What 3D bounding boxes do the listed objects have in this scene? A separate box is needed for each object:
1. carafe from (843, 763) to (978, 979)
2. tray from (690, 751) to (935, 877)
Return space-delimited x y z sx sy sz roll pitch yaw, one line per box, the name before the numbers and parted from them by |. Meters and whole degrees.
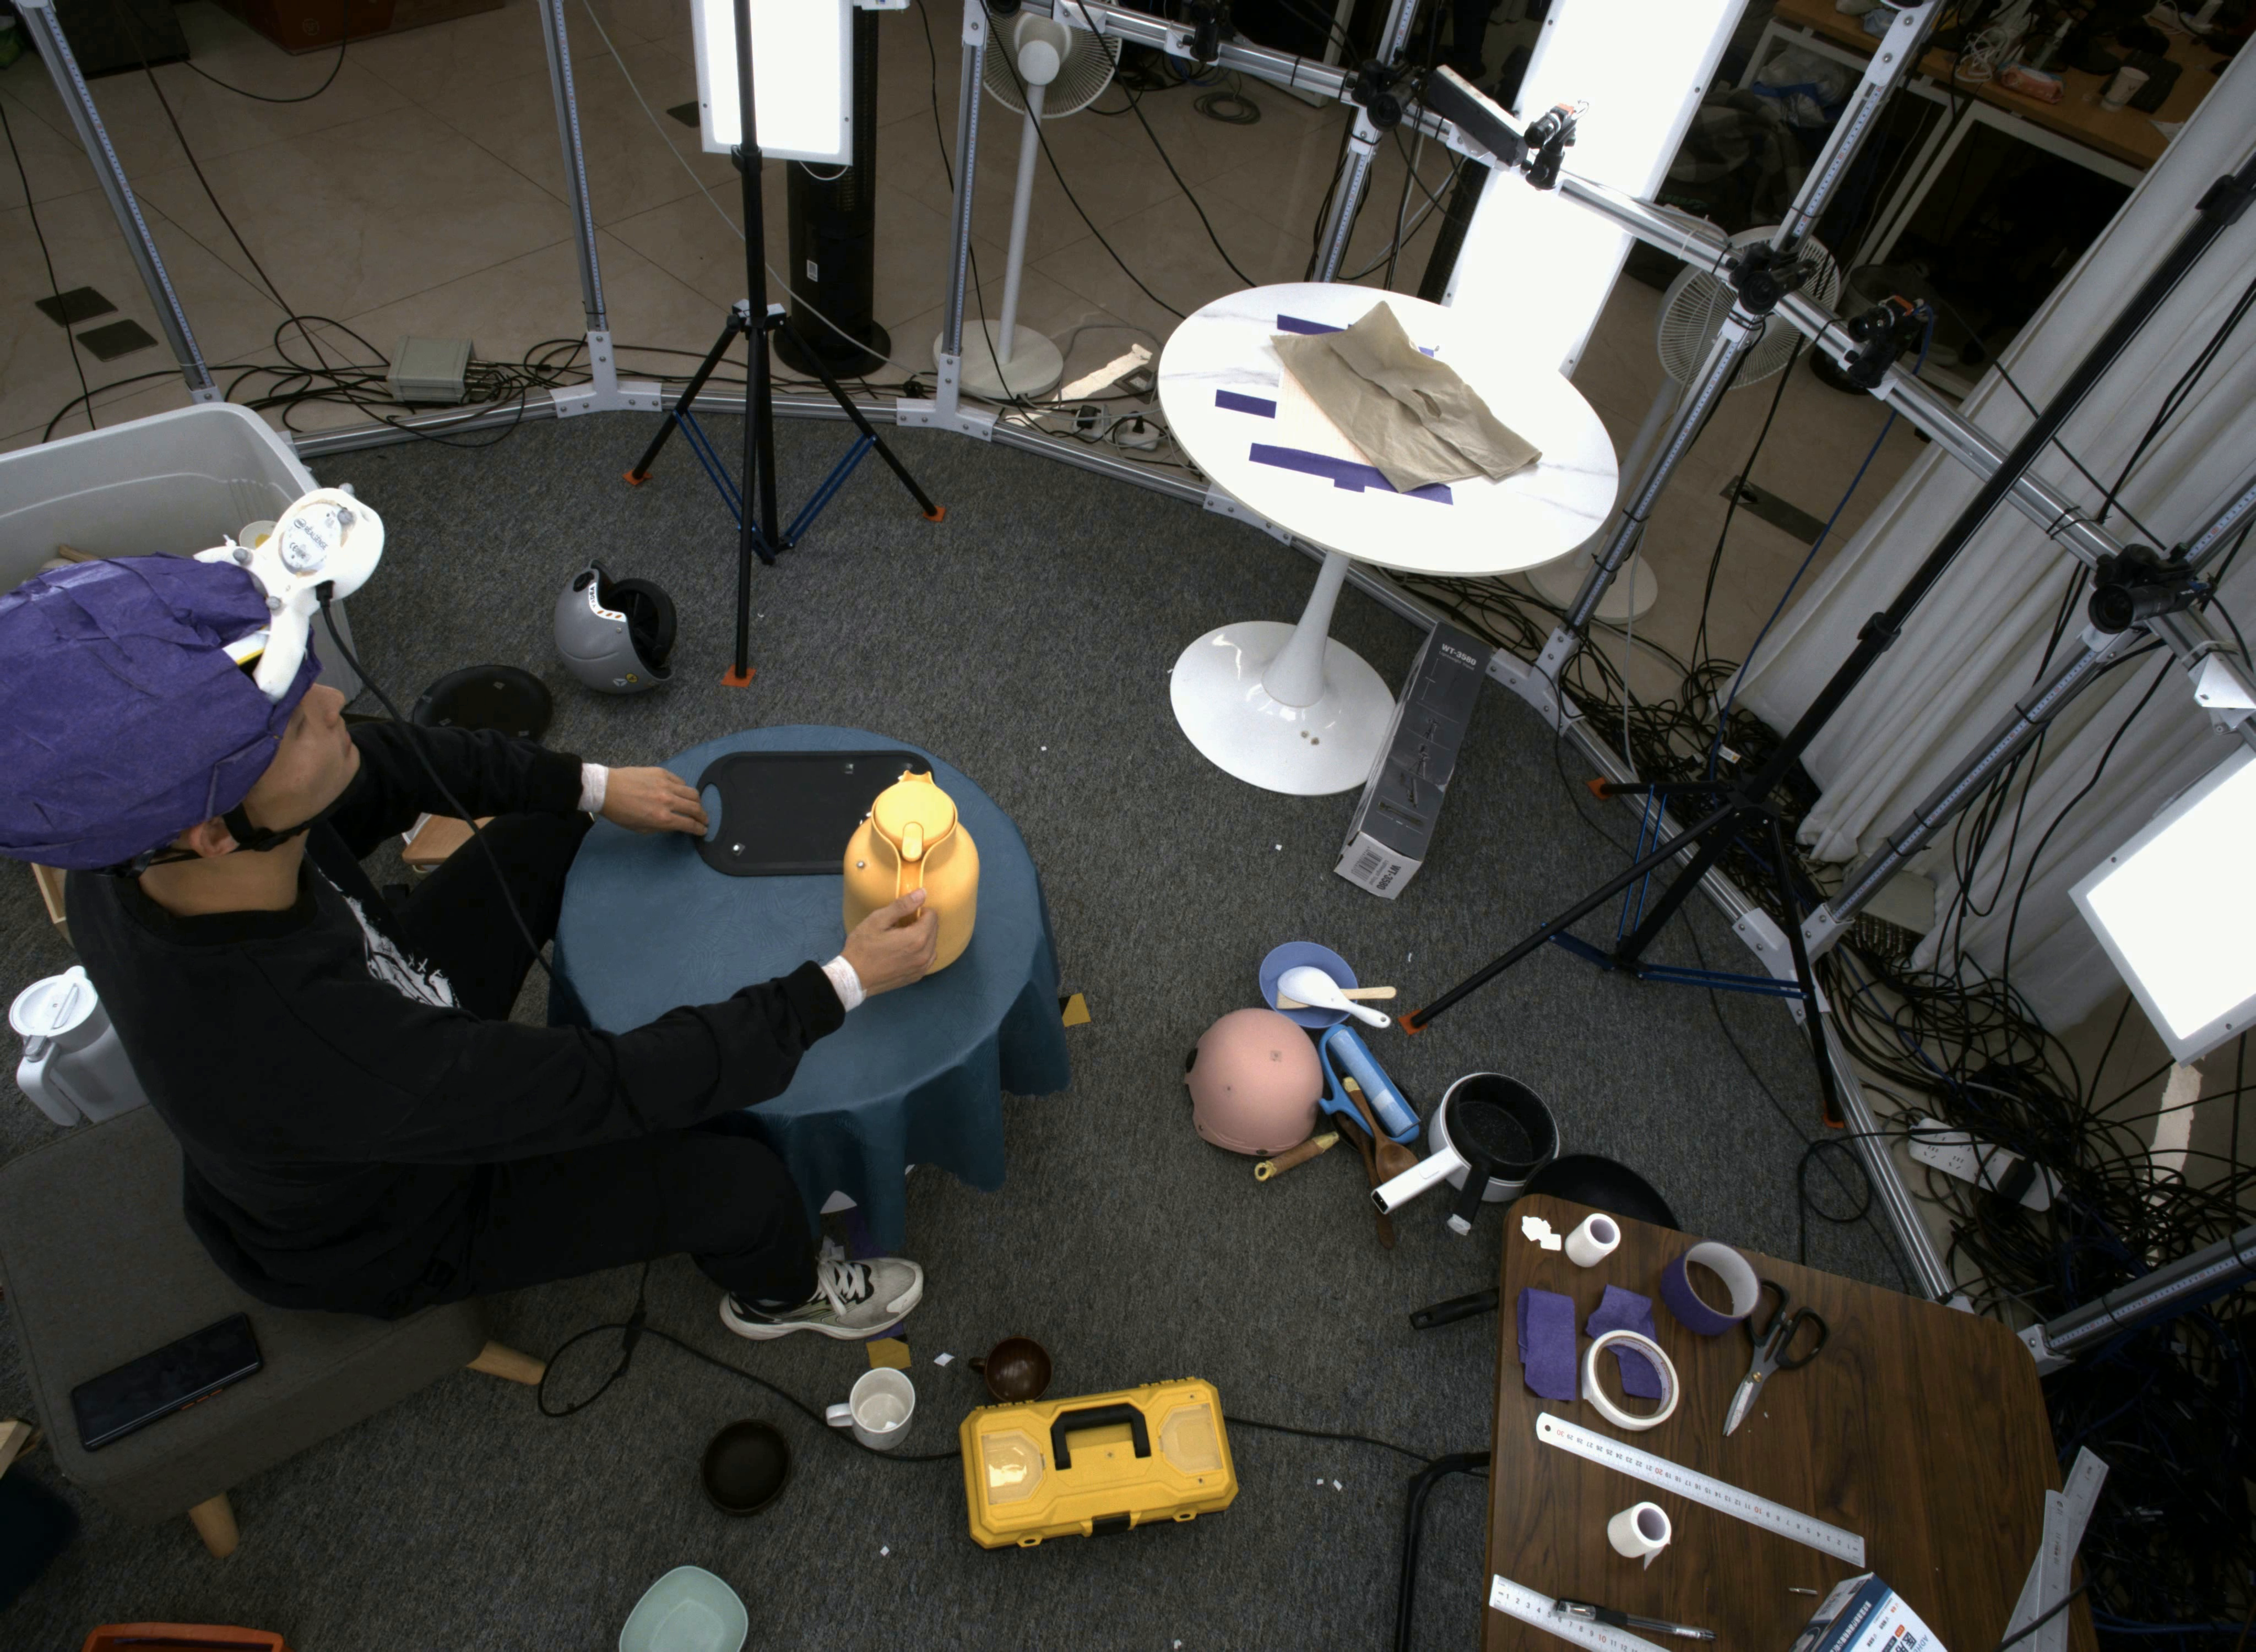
carafe | -0.260 0.068 1.543 0.163 0.267 0.198 3 50 -6
tray | -0.419 -0.022 1.735 0.326 0.010 0.206 -1 54 -15
